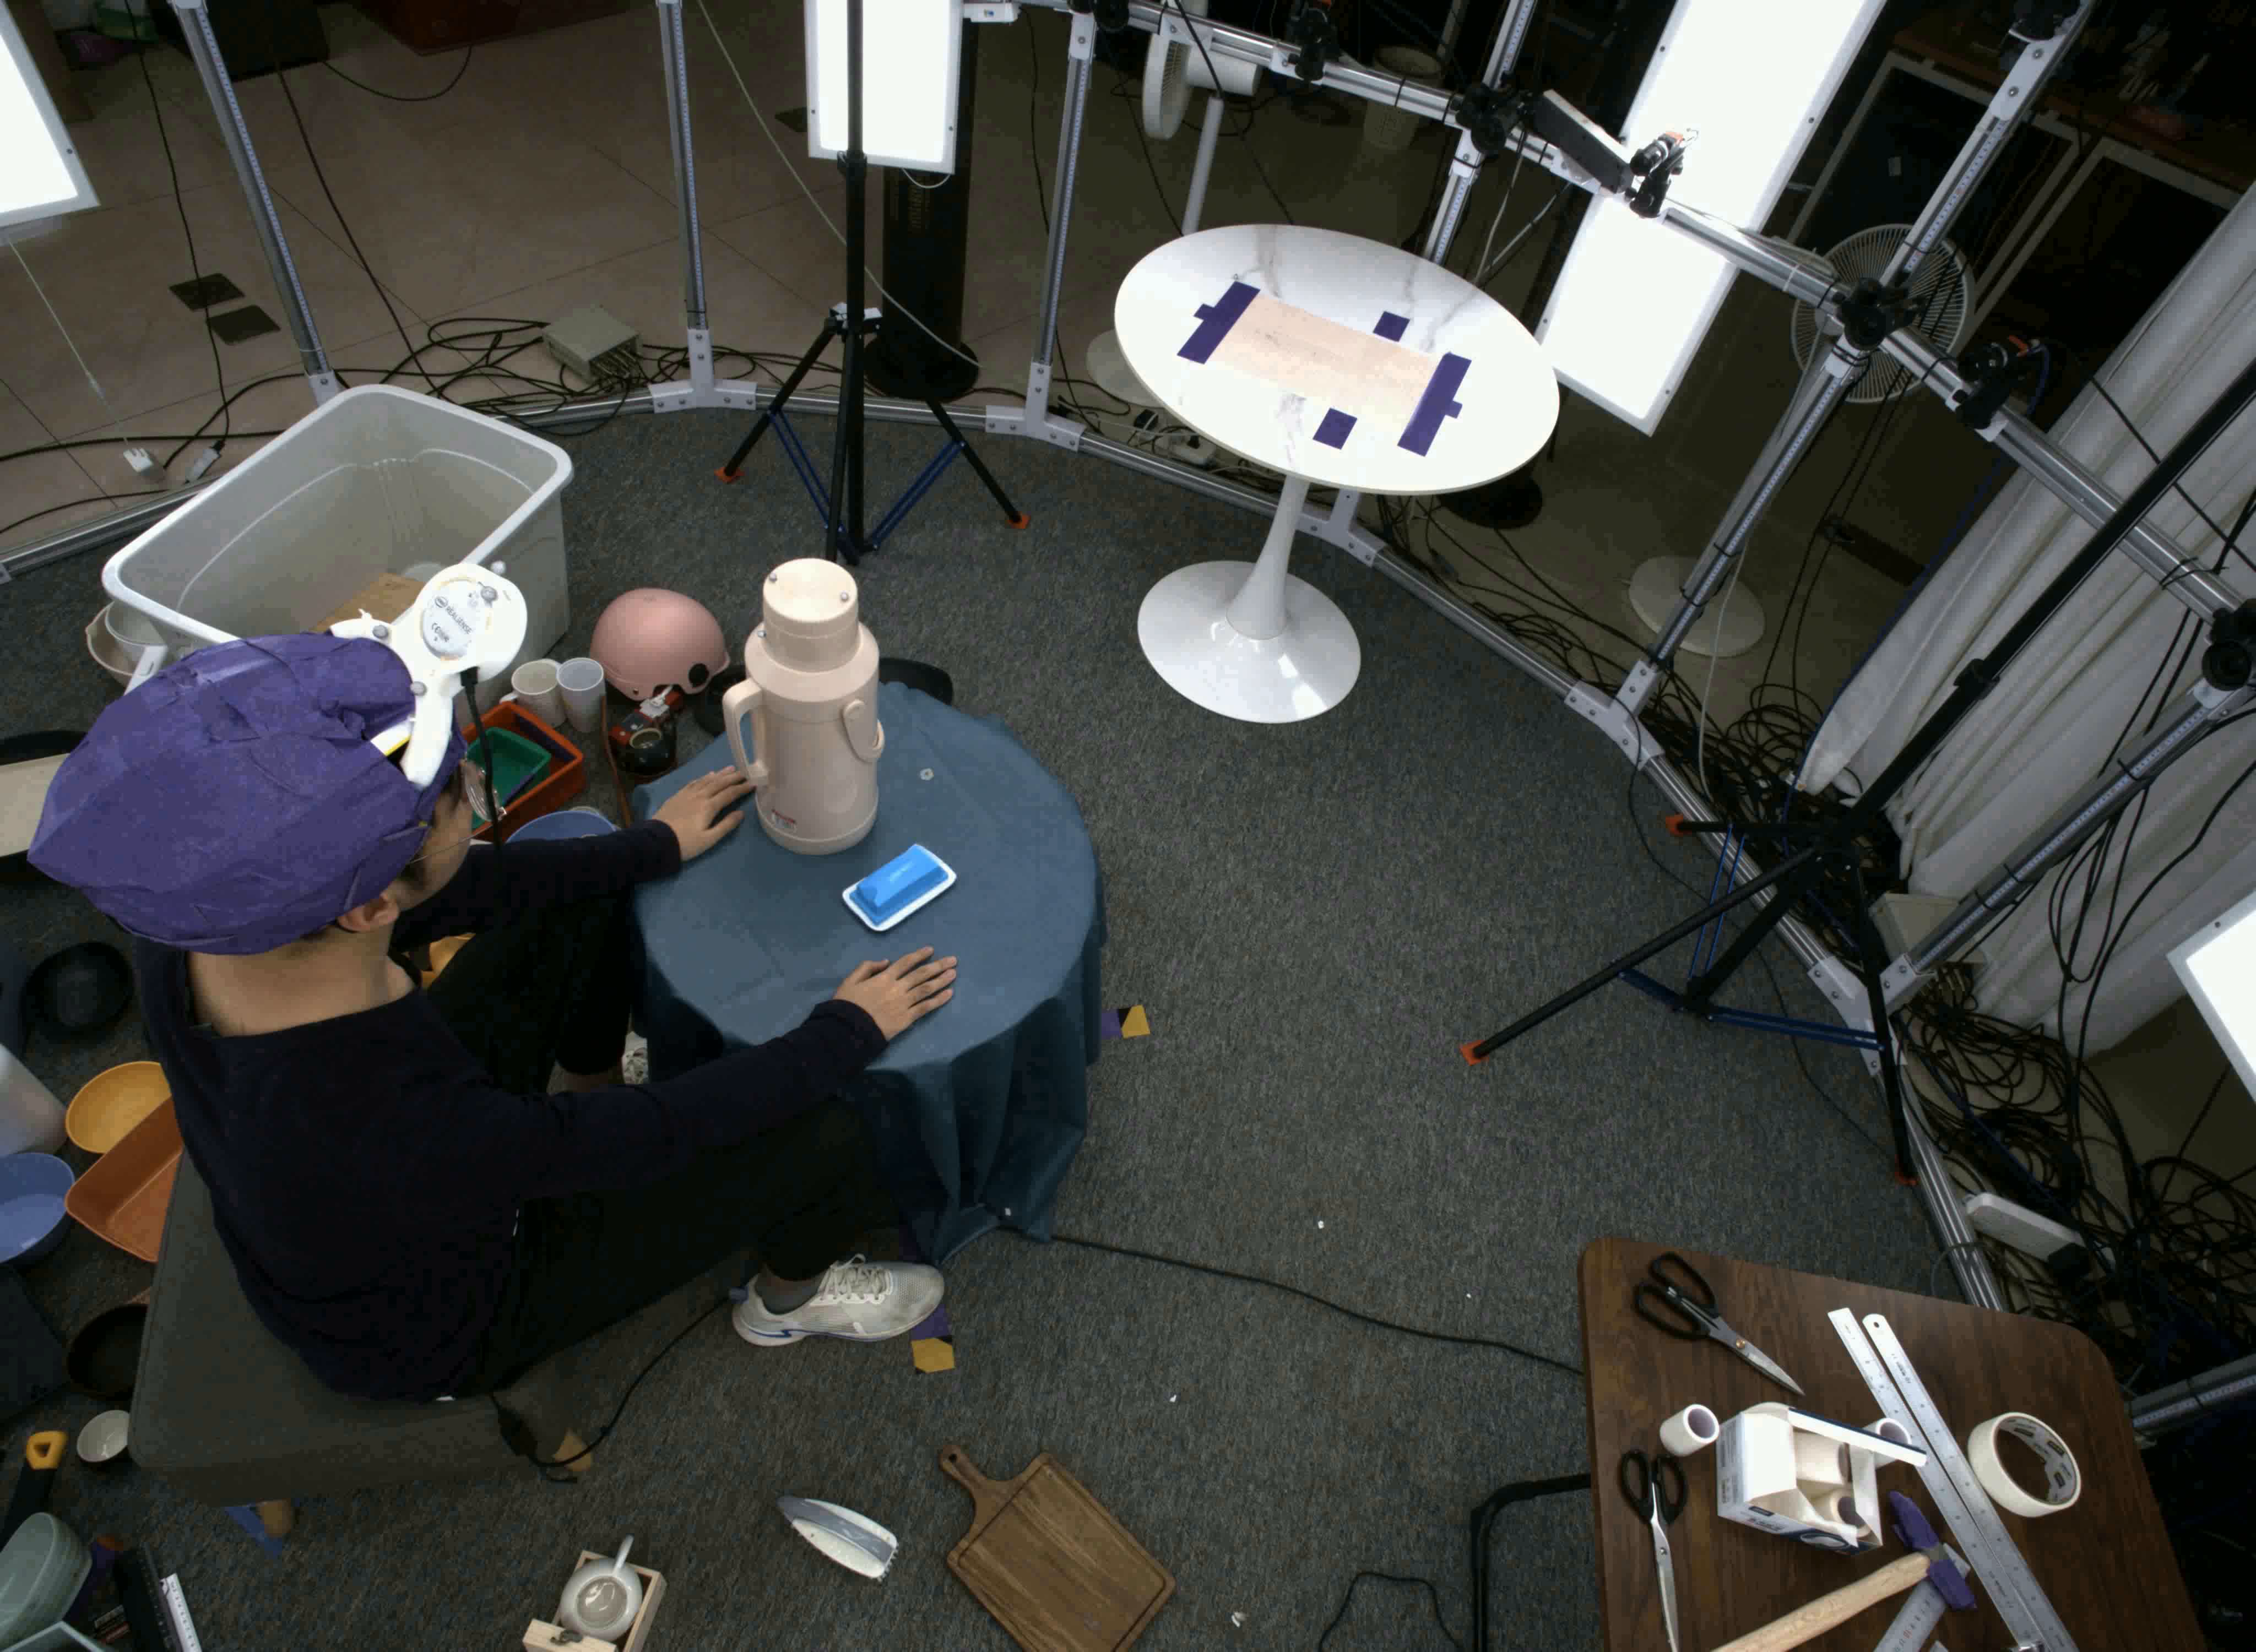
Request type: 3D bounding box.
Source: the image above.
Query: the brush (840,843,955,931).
[{"bbox_3d":[-0.295,0.070,1.665,0.081,0.057,0.144,40,51,23],"label":"brush"}]

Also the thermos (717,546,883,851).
[{"bbox_3d":[-0.401,-0.145,1.583,0.207,0.414,0.171,-35,67,-30],"label":"thermos"}]
